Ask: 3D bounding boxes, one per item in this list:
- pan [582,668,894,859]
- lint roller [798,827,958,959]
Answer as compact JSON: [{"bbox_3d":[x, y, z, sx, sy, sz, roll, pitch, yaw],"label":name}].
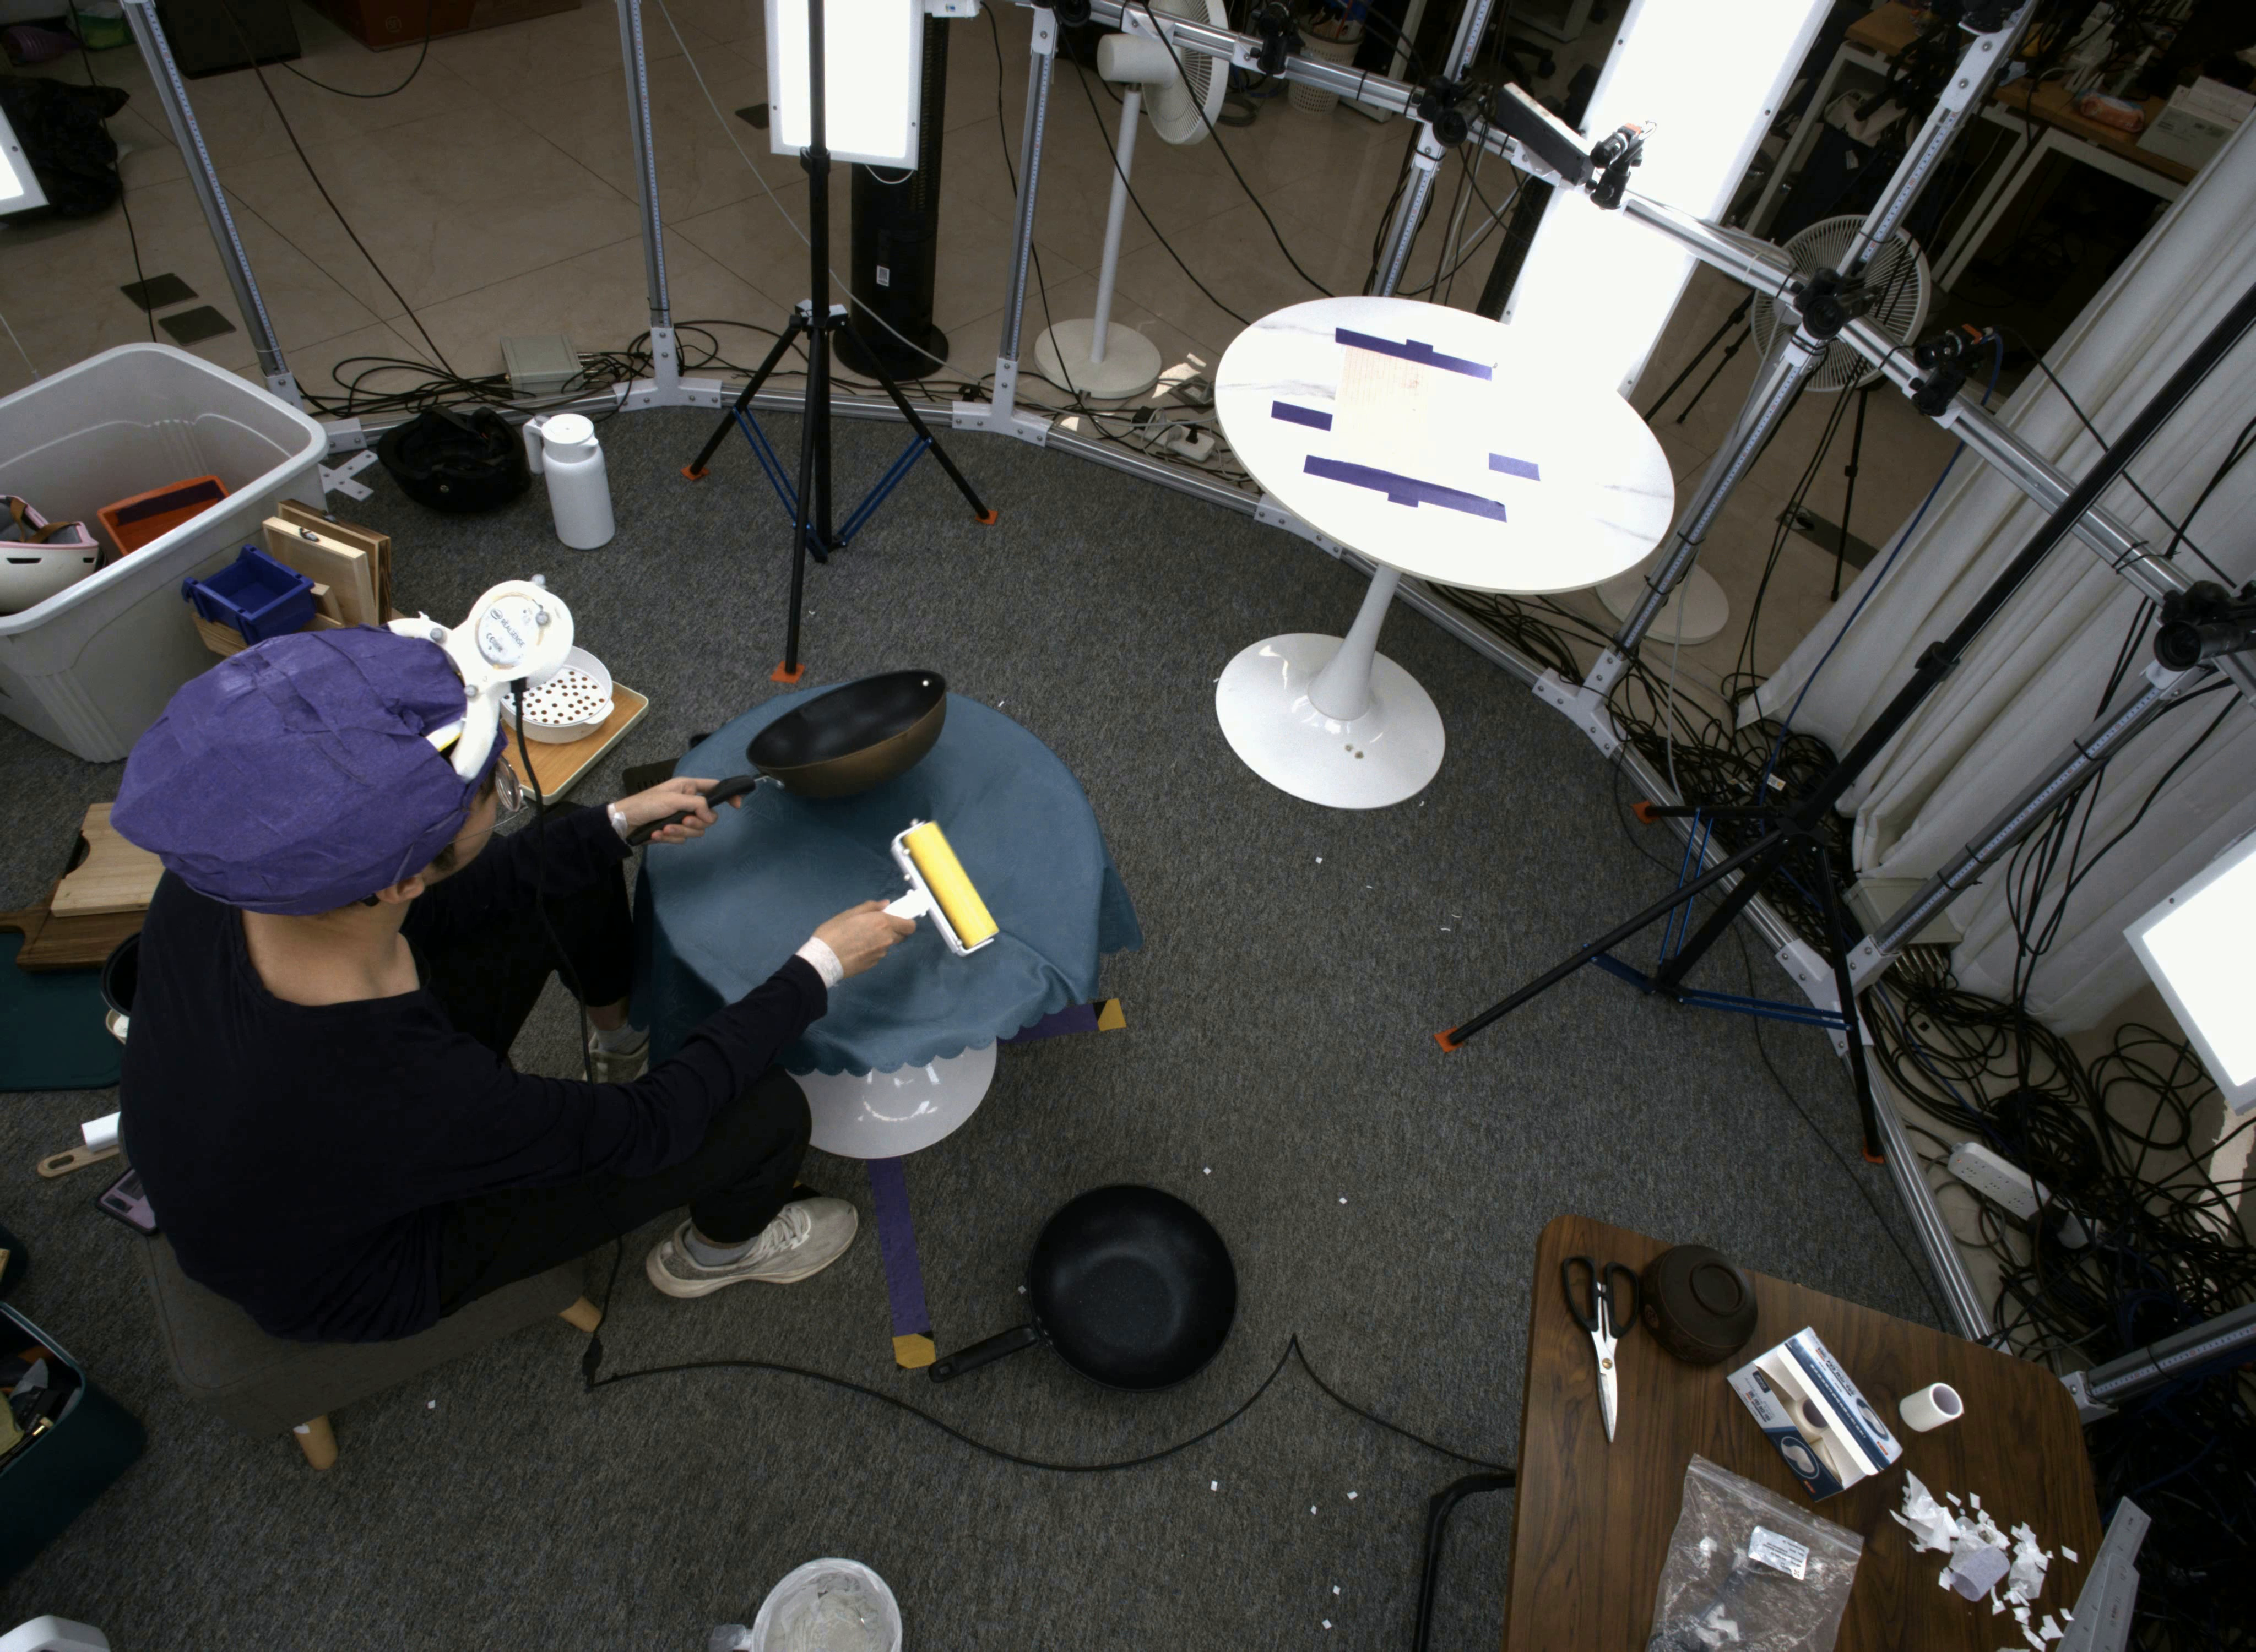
[{"bbox_3d":[-0.486,-0.059,1.660,0.464,0.090,0.278,-38,31,-32],"label":"pan"},{"bbox_3d":[-0.321,0.104,1.584,0.174,0.051,0.193,53,39,3],"label":"lint roller"}]
